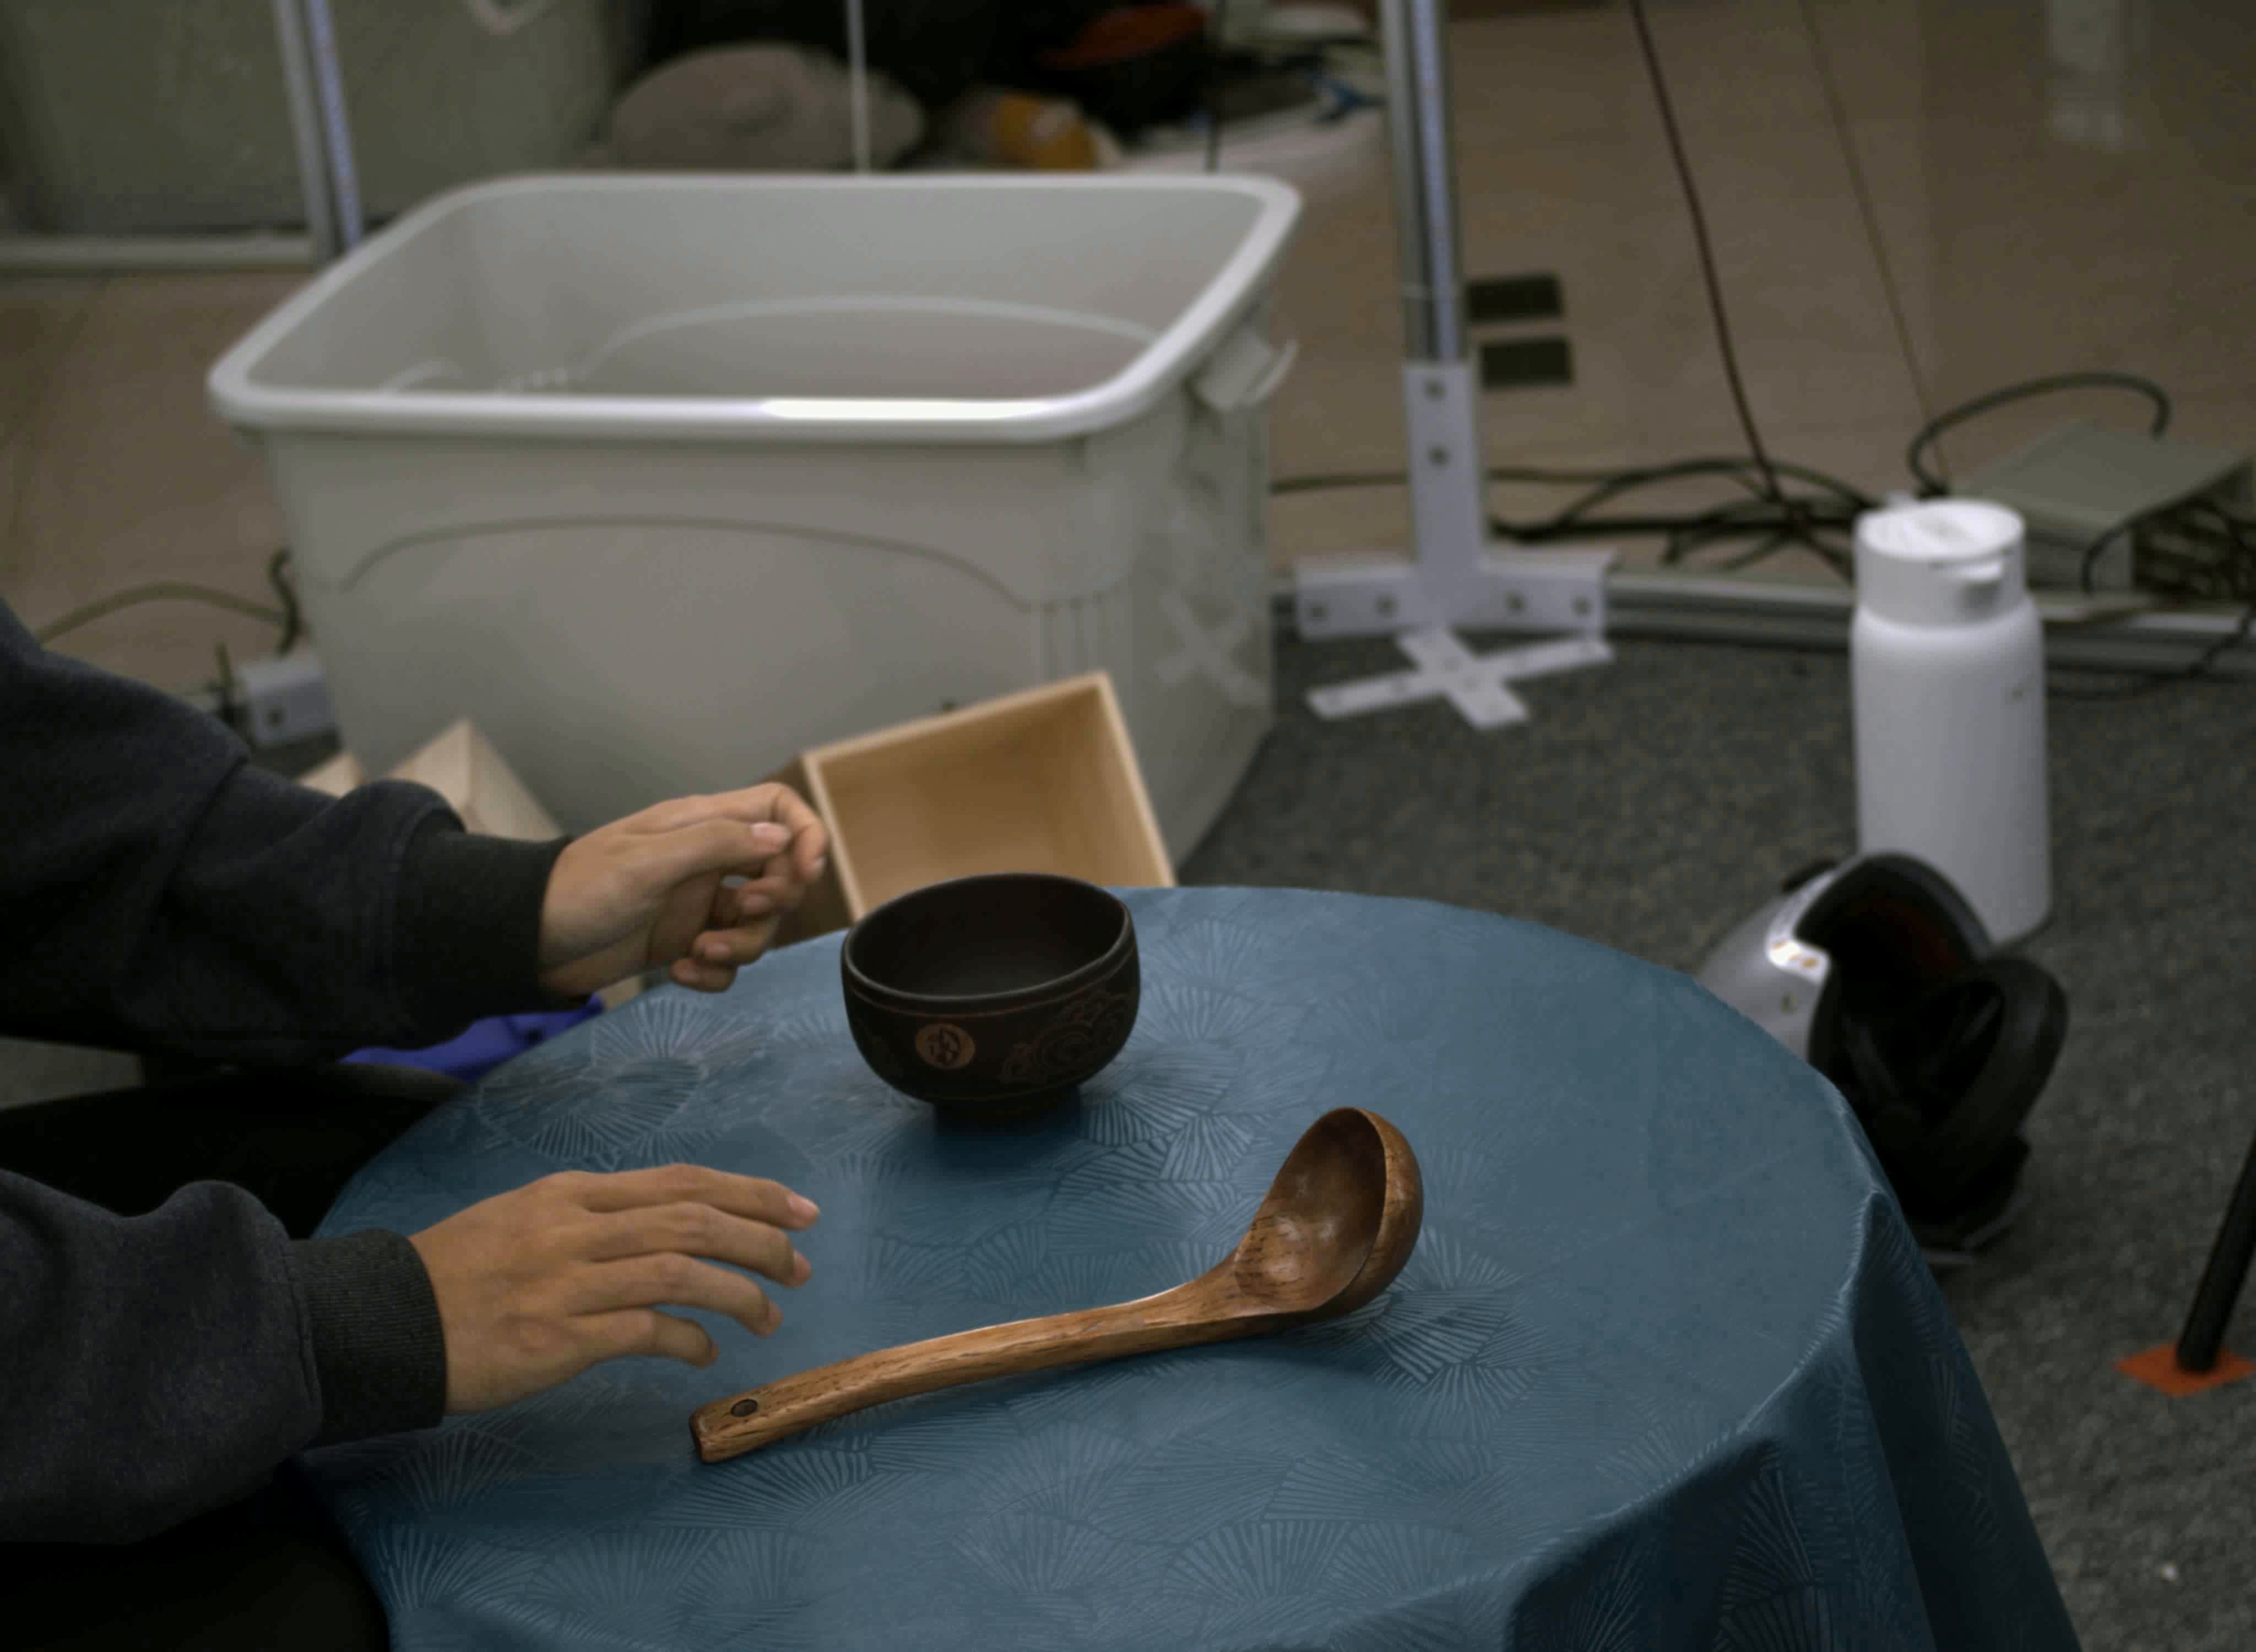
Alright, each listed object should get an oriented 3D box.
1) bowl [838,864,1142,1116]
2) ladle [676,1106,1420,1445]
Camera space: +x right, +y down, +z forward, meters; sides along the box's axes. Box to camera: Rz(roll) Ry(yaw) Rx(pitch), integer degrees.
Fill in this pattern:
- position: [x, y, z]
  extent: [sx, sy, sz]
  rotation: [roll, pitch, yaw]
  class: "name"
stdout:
- position: [-0.052, 0.070, 2.217]
  extent: [0.118, 0.071, 0.116]
  rotation: [-6, 25, 3]
  class: "bowl"
- position: [-0.028, 0.160, 2.013]
  extent: [0.273, 0.078, 0.080]
  rotation: [-10, 31, -10]
  class: "ladle"
